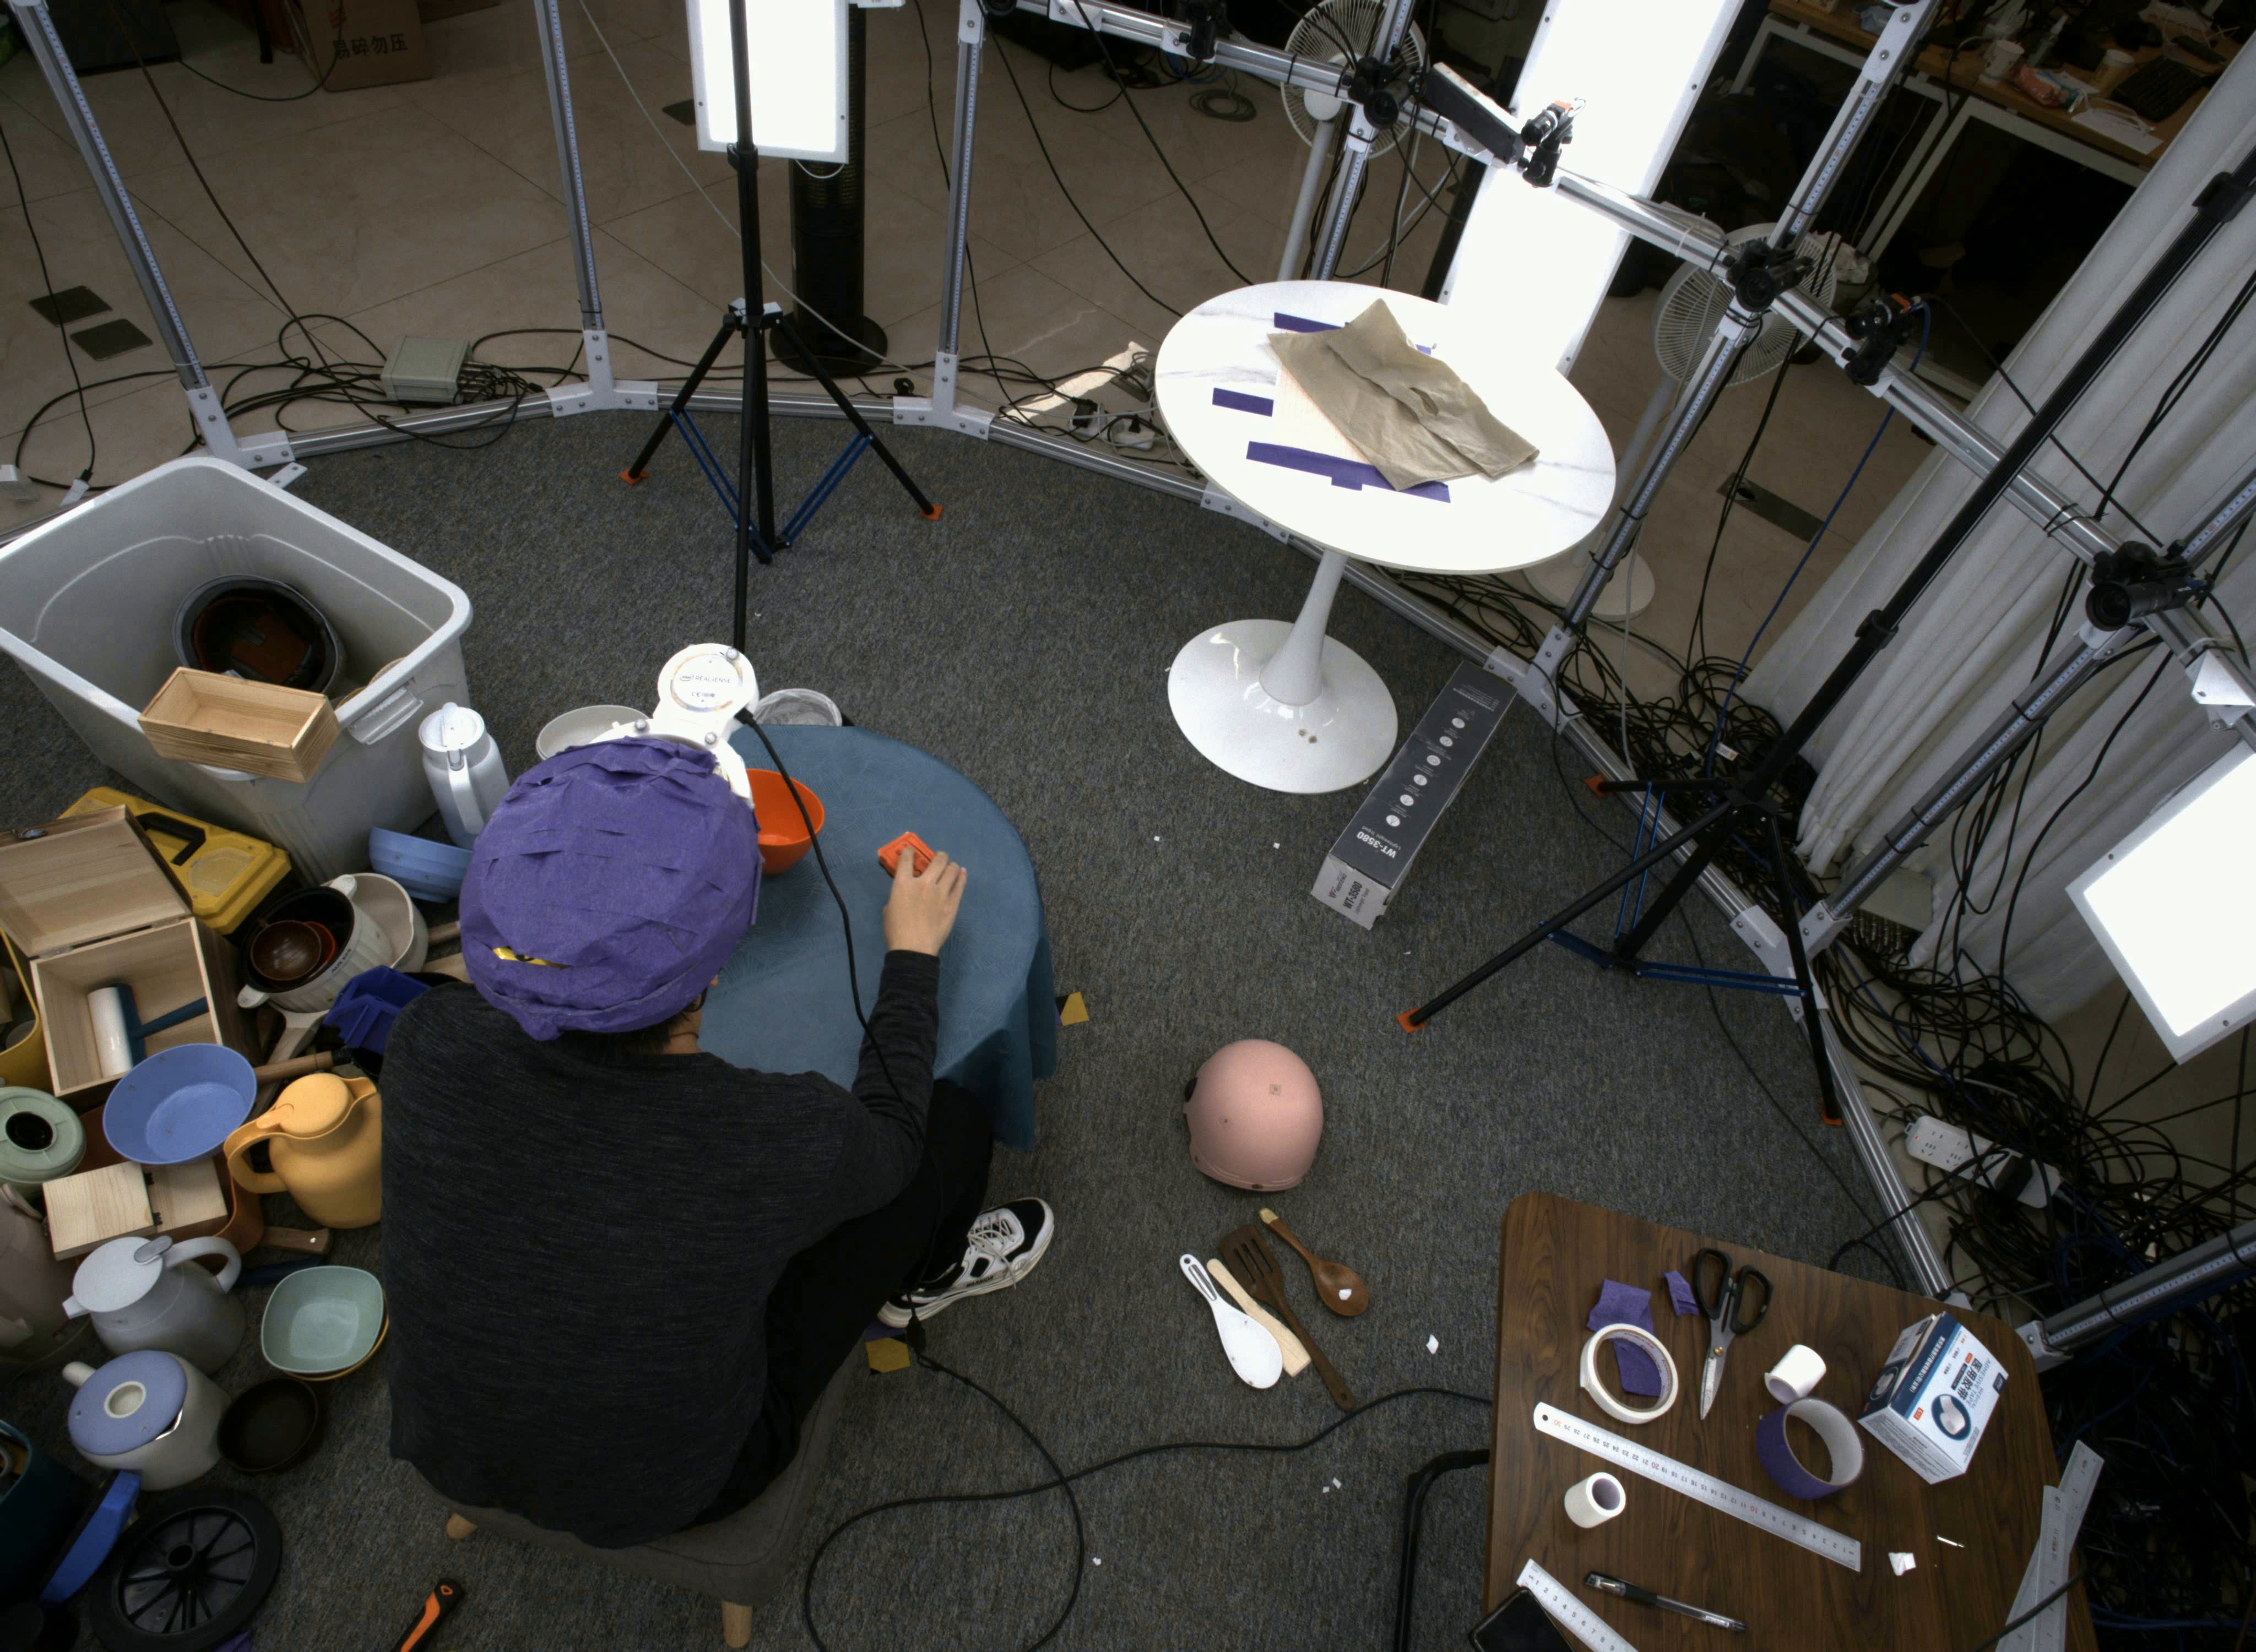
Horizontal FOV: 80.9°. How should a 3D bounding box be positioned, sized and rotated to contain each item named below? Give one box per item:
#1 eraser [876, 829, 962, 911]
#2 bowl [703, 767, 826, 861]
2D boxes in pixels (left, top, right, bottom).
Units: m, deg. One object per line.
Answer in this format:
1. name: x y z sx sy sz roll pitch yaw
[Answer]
1. eraser: -0.261 0.053 1.622 0.106 0.023 0.059 42 52 15
2. bowl: -0.446 -0.017 1.586 0.146 0.107 0.146 6 13 0
